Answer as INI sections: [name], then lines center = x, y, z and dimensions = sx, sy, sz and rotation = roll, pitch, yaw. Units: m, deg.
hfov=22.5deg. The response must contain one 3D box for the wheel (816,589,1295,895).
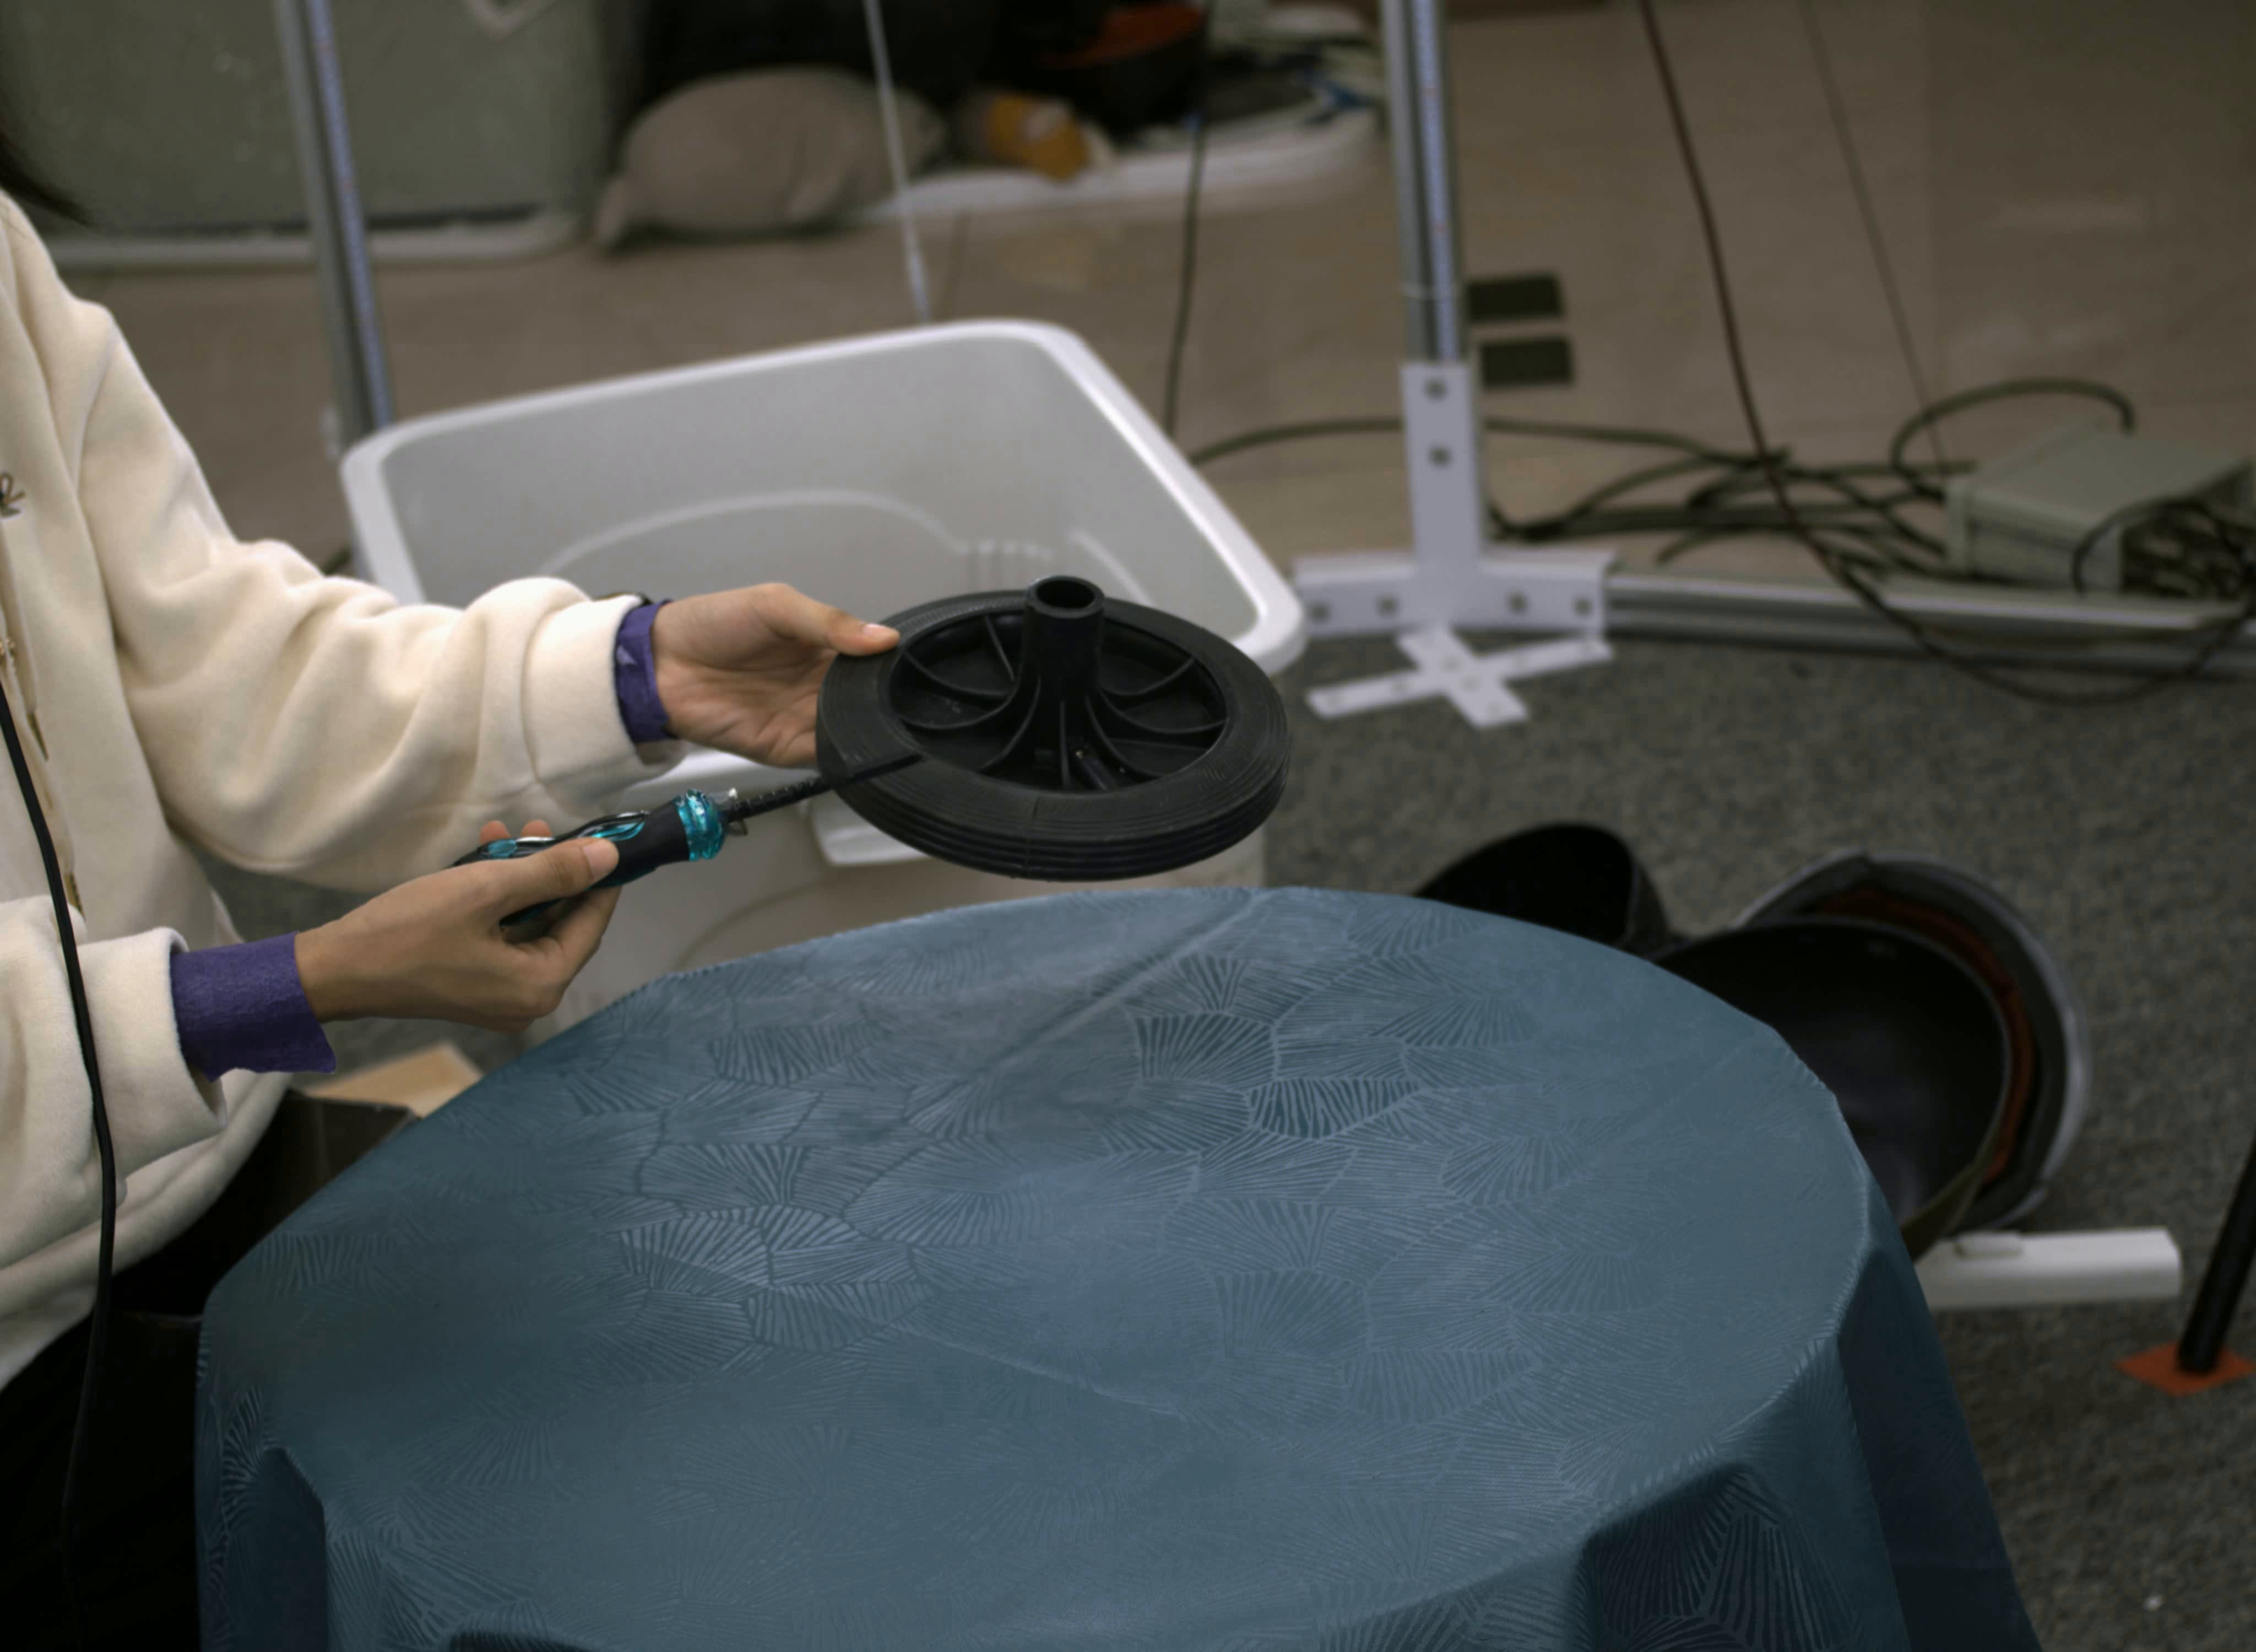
[wheel]
center = -0.026, -0.051, 2.217
dimensions = 0.188, 0.080, 0.185
rotation = 31, 41, 29

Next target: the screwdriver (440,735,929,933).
[screwdriver]
center = -0.162, -0.002, 2.085
dimensions = 0.189, 0.034, 0.033
rotation = -19, 28, -13
